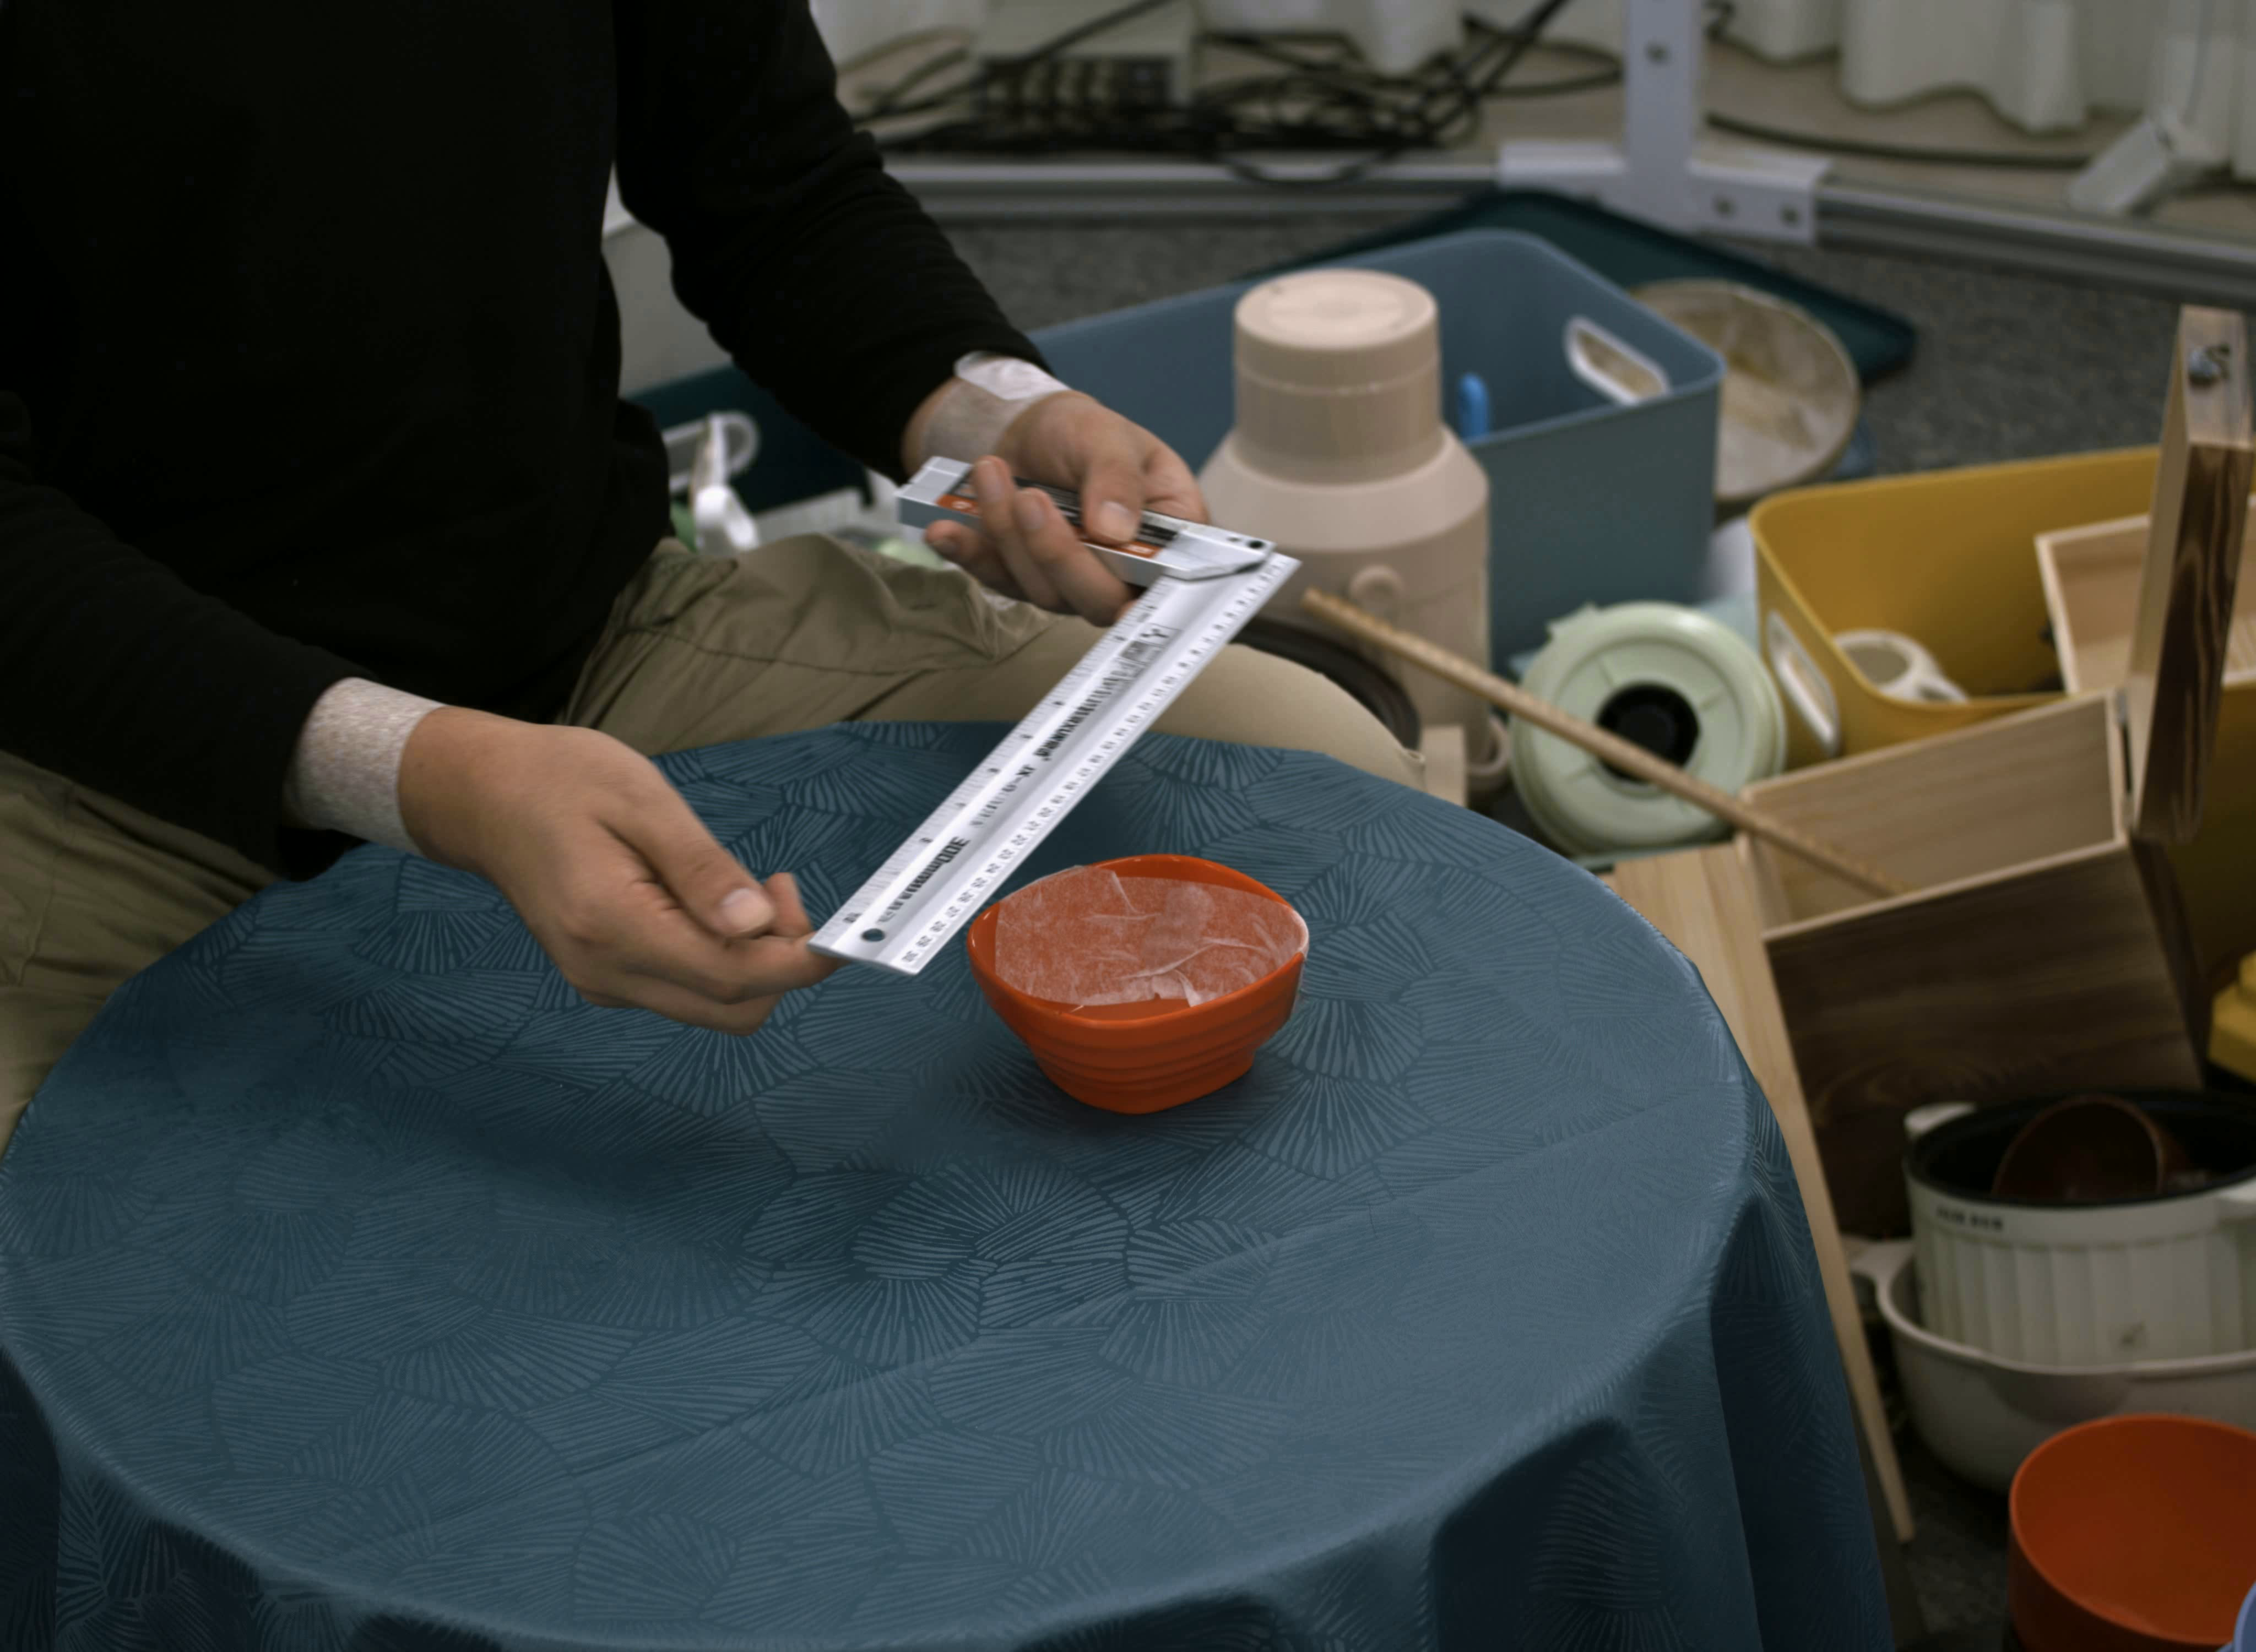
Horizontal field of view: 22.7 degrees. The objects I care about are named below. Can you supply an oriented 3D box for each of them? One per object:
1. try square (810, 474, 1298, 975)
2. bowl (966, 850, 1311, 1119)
[{"bbox_3d":[-0.070,-0.040,1.964,0.151,0.015,0.318,12,33,22],"label":"try square"},{"bbox_3d":[0.005,0.058,1.926,0.118,0.051,0.121,-3,29,2],"label":"bowl"}]
